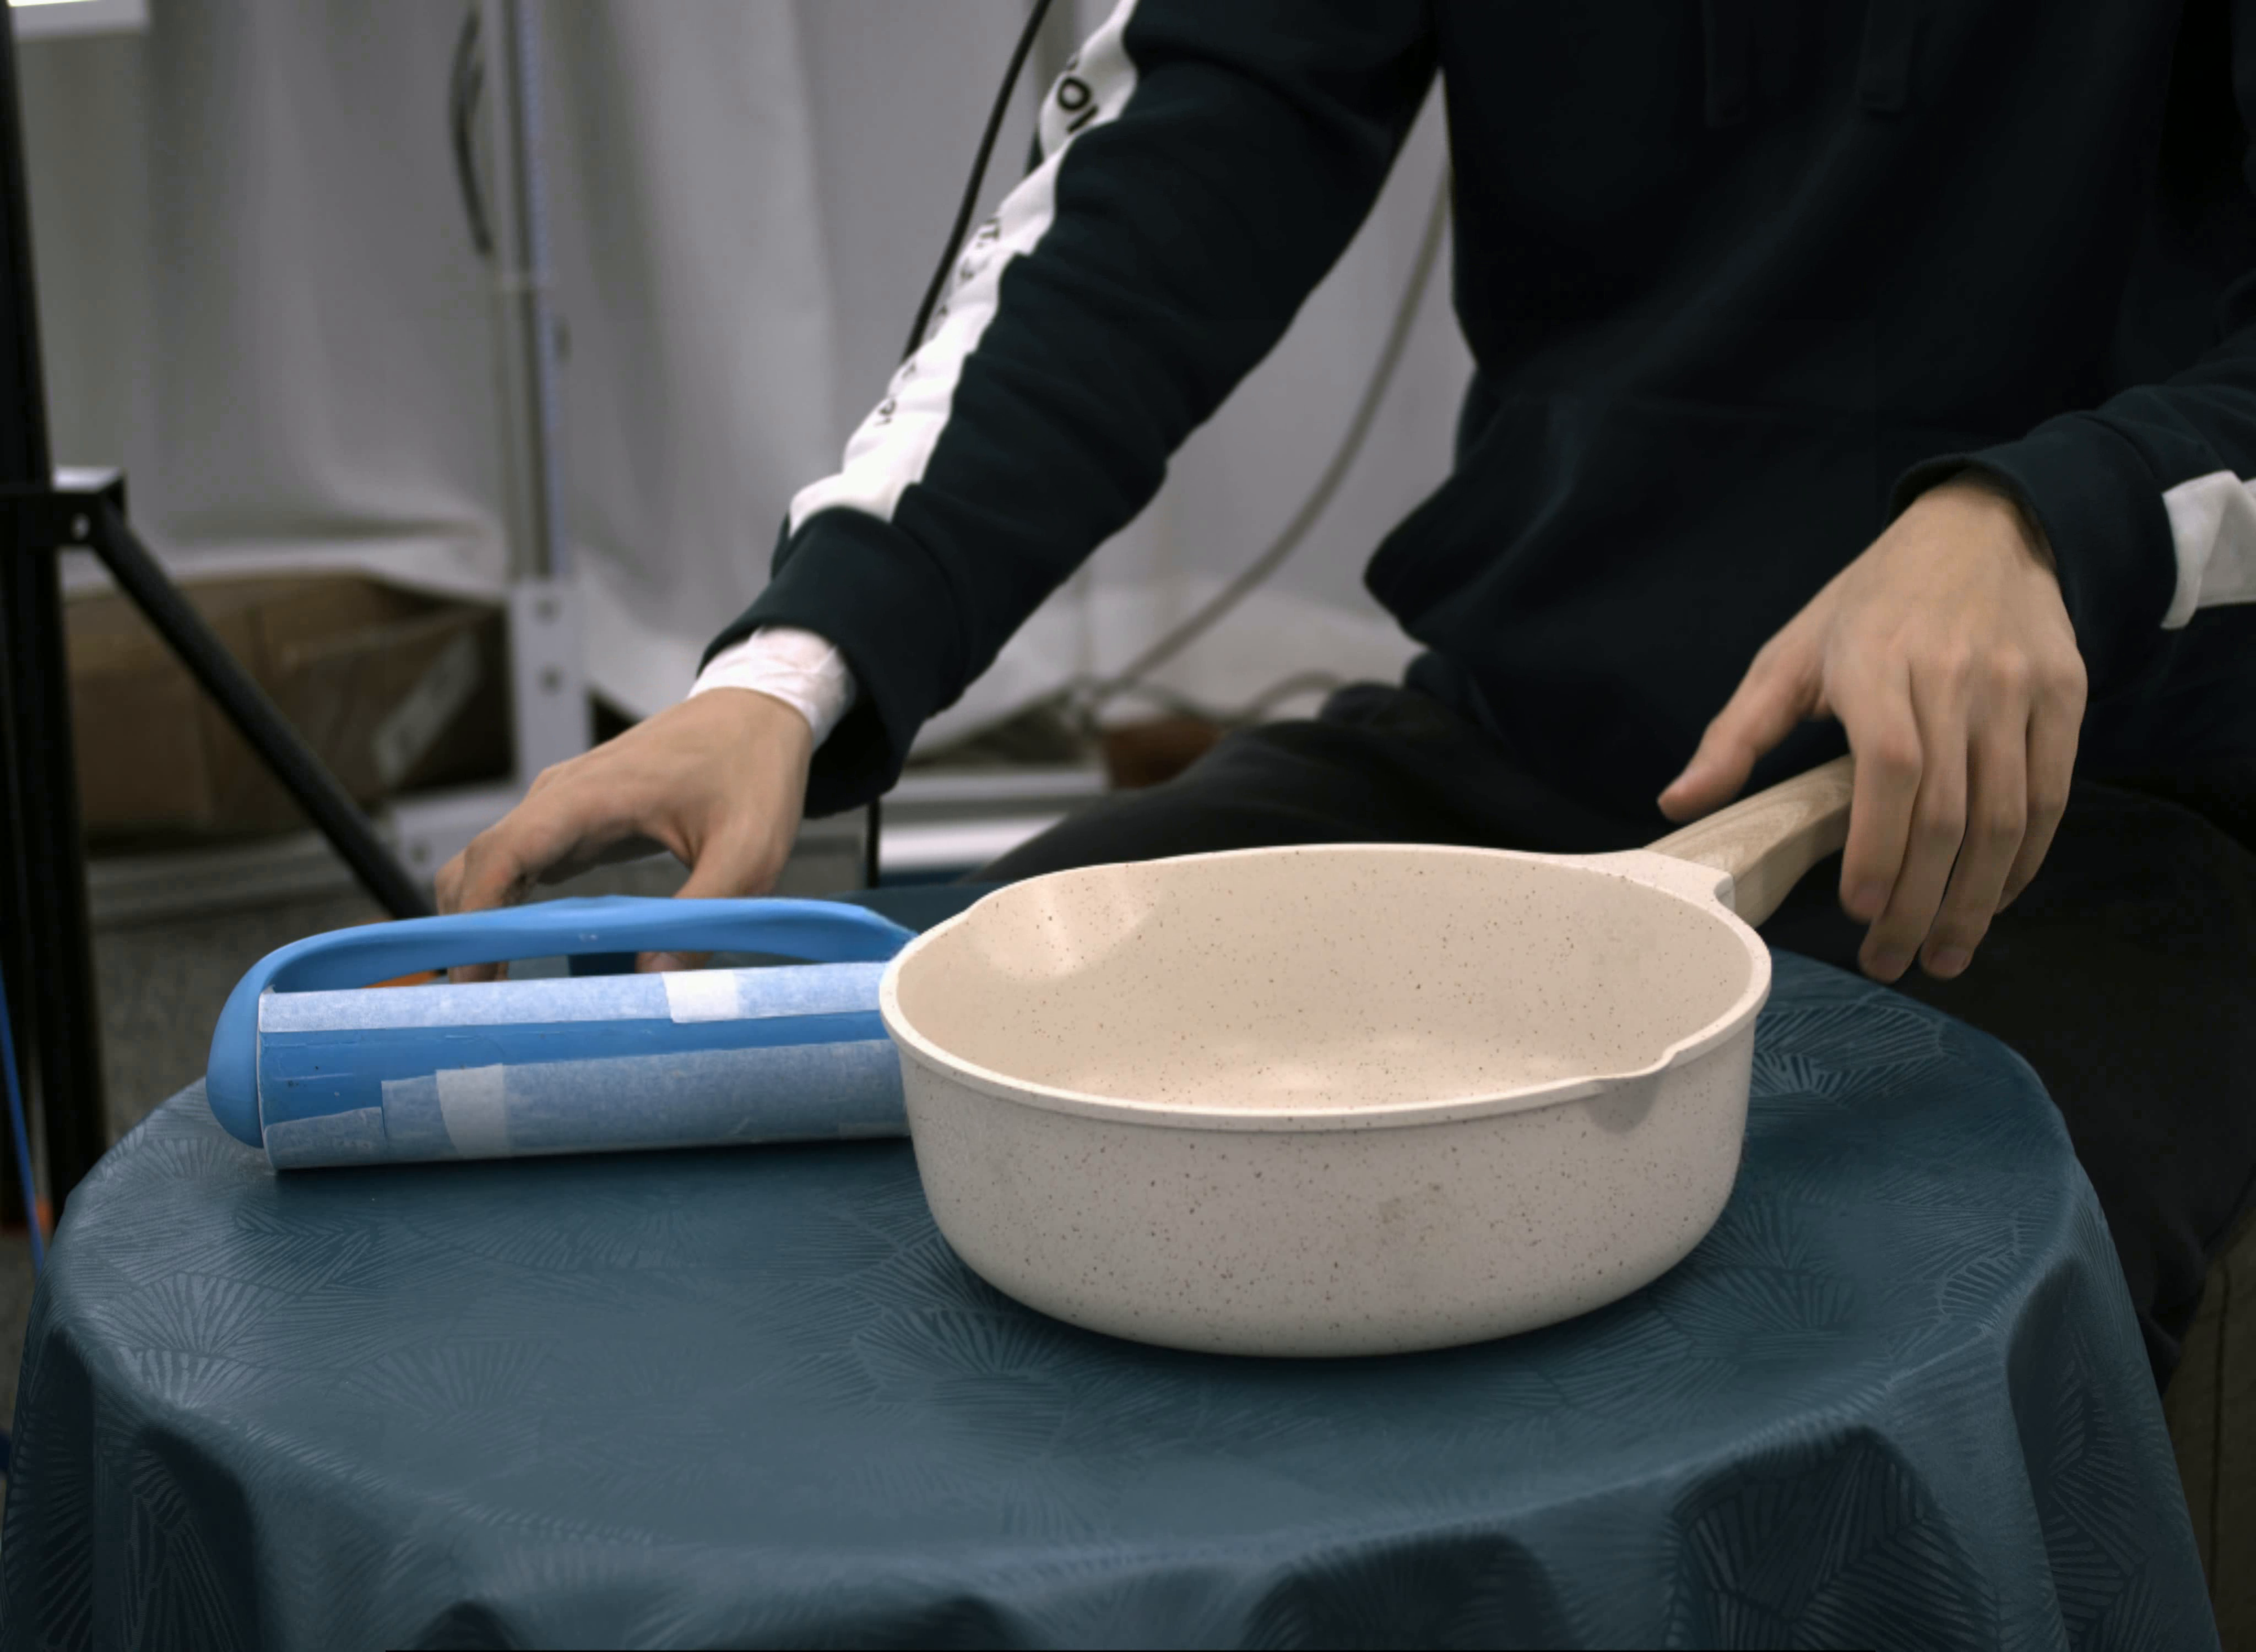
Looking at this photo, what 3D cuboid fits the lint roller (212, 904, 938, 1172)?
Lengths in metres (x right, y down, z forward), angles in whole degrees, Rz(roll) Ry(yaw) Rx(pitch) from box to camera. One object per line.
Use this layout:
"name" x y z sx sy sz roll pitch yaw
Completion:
"lint roller" -0.168 0.055 1.669 0.227 0.068 0.181 -5 16 -3

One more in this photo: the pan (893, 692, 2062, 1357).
"pan" 0.129 0.053 1.546 0.425 0.102 0.269 -15 19 -37
